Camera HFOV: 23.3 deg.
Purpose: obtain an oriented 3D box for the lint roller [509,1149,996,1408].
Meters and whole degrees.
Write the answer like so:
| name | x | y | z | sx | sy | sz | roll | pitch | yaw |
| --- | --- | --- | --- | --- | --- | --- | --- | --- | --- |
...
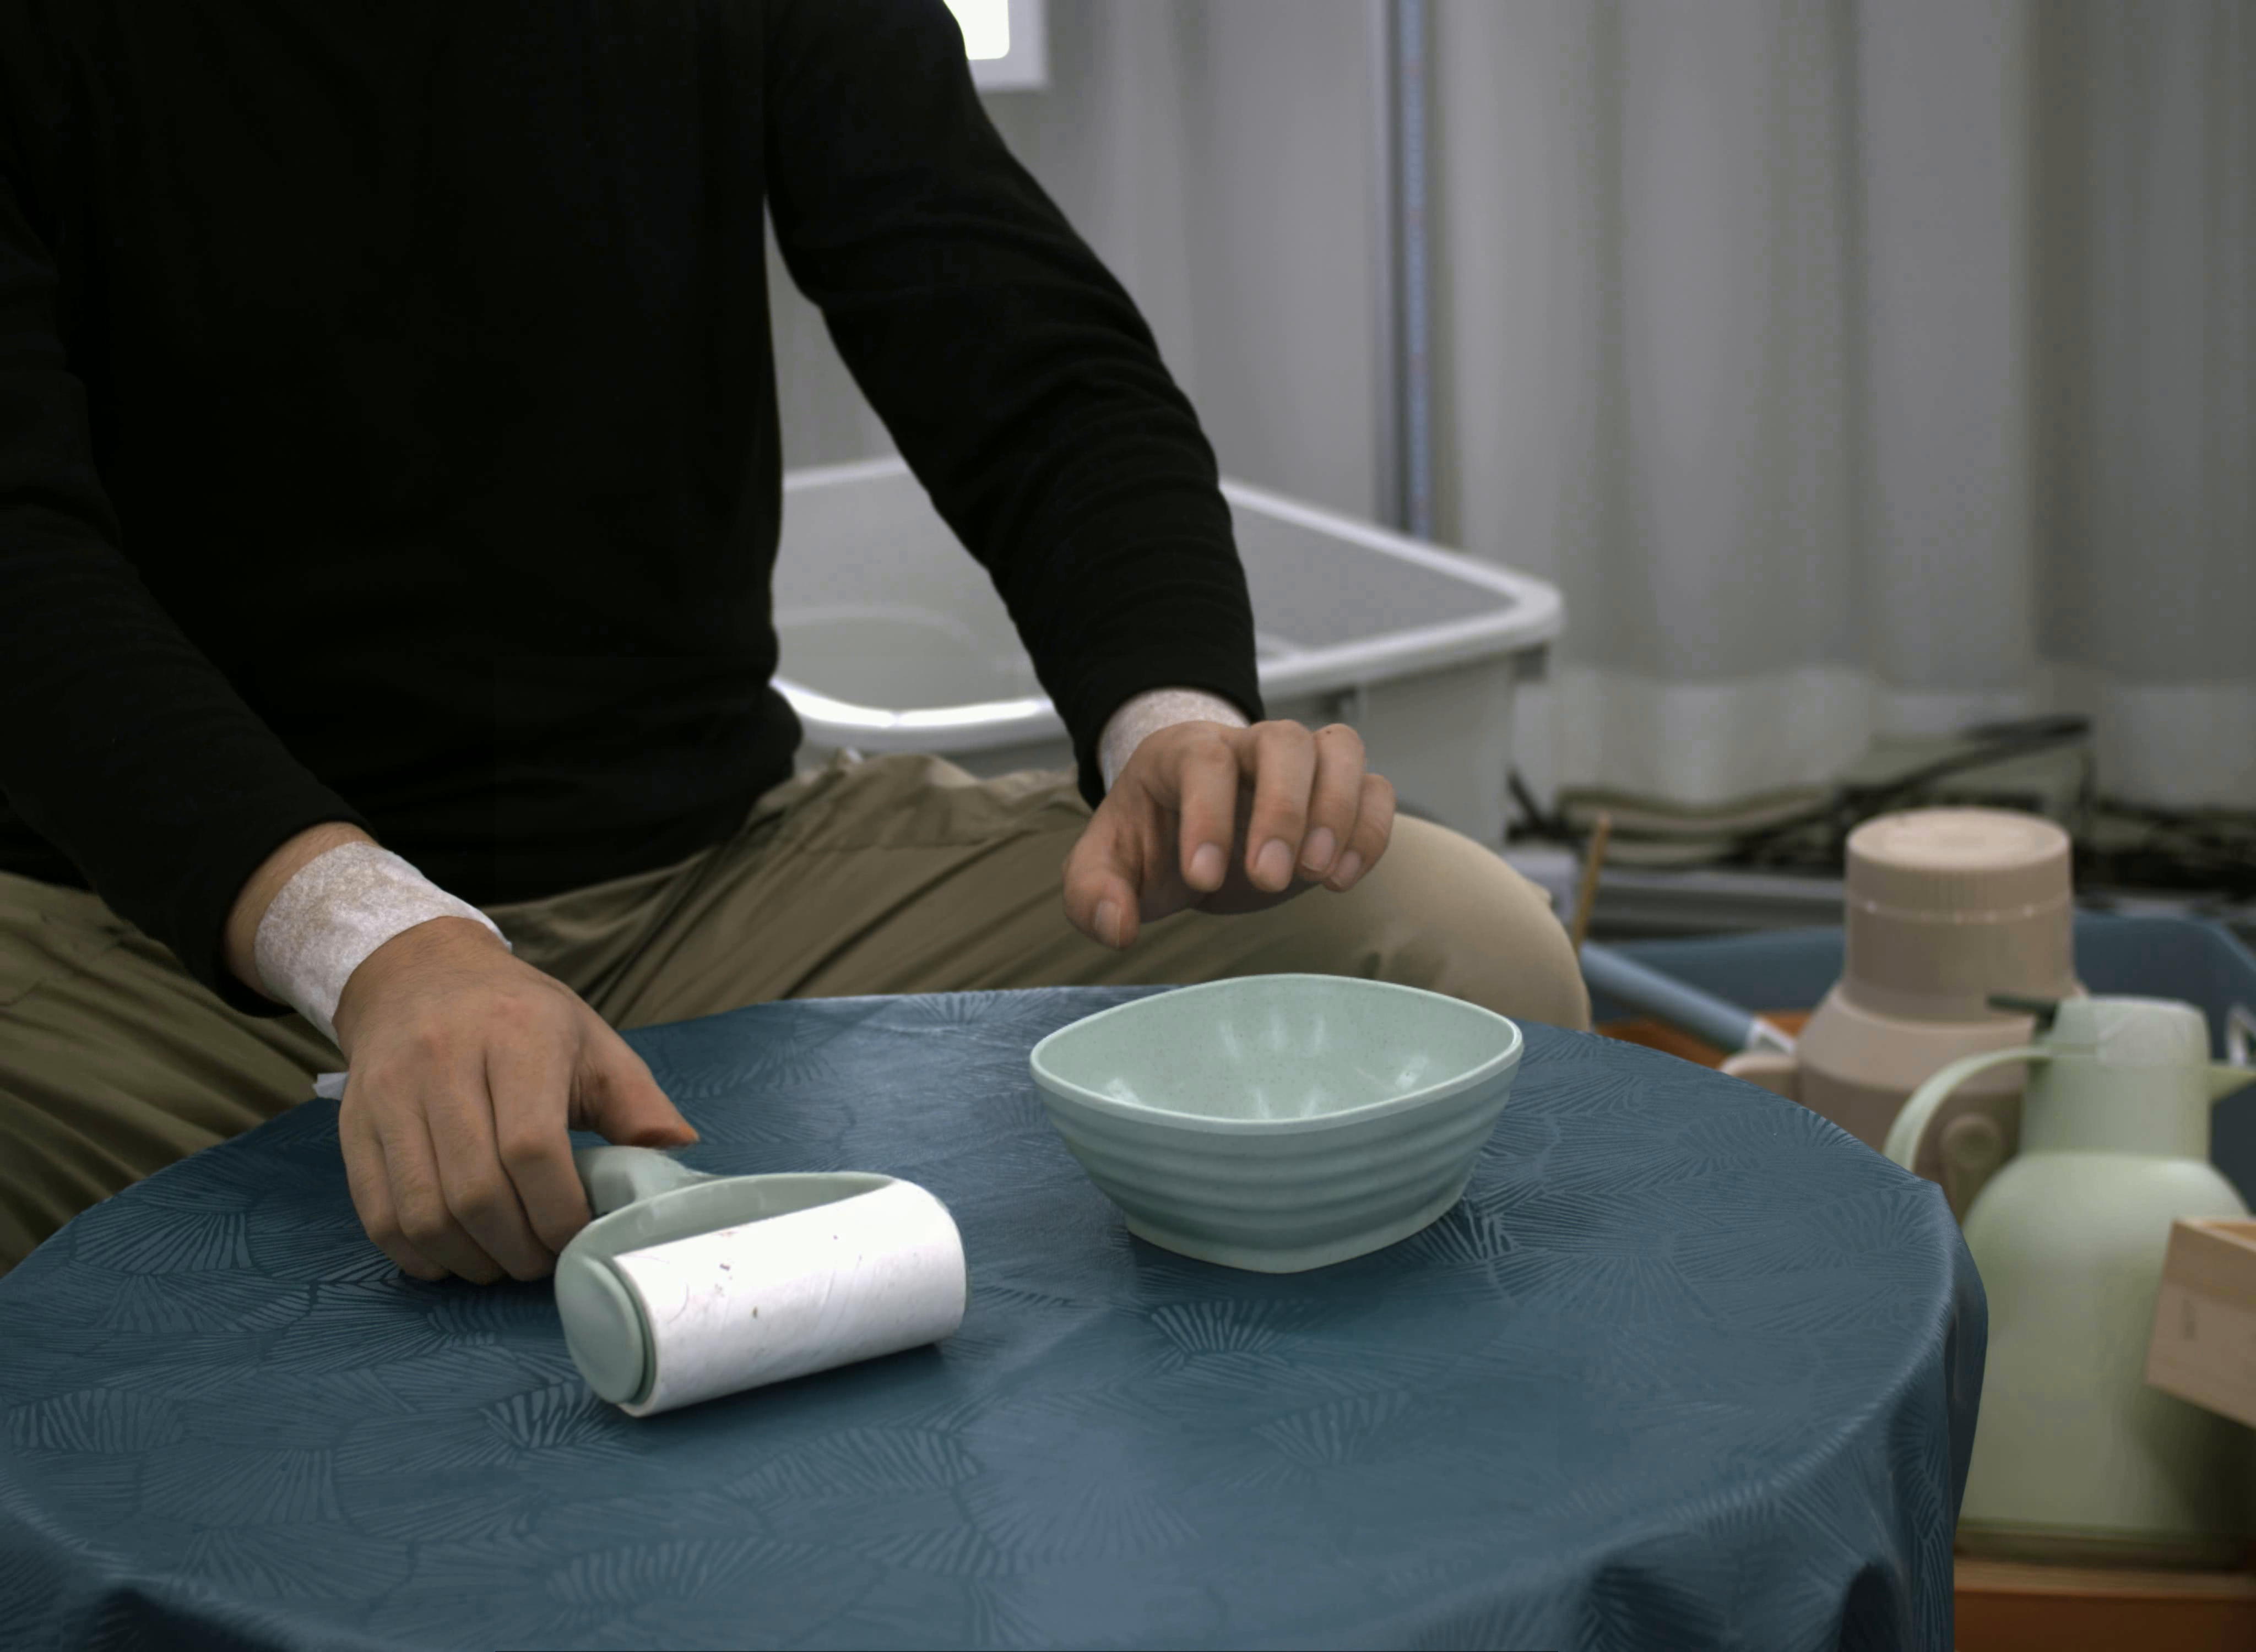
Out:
| name | x | y | z | sx | sy | sz | roll | pitch | yaw |
| --- | --- | --- | --- | --- | --- | --- | --- | --- | --- |
| lint roller | -0.132 | 0.121 | 1.629 | 0.116 | 0.048 | 0.199 | -13 | 16 | -30 |

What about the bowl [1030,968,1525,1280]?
| name | x | y | z | sx | sy | sz | roll | pitch | yaw |
| --- | --- | --- | --- | --- | --- | --- | --- | --- | --- |
| bowl | 0.047 | 0.094 | 1.673 | 0.151 | 0.058 | 0.152 | -3 | 16 | 0 |
